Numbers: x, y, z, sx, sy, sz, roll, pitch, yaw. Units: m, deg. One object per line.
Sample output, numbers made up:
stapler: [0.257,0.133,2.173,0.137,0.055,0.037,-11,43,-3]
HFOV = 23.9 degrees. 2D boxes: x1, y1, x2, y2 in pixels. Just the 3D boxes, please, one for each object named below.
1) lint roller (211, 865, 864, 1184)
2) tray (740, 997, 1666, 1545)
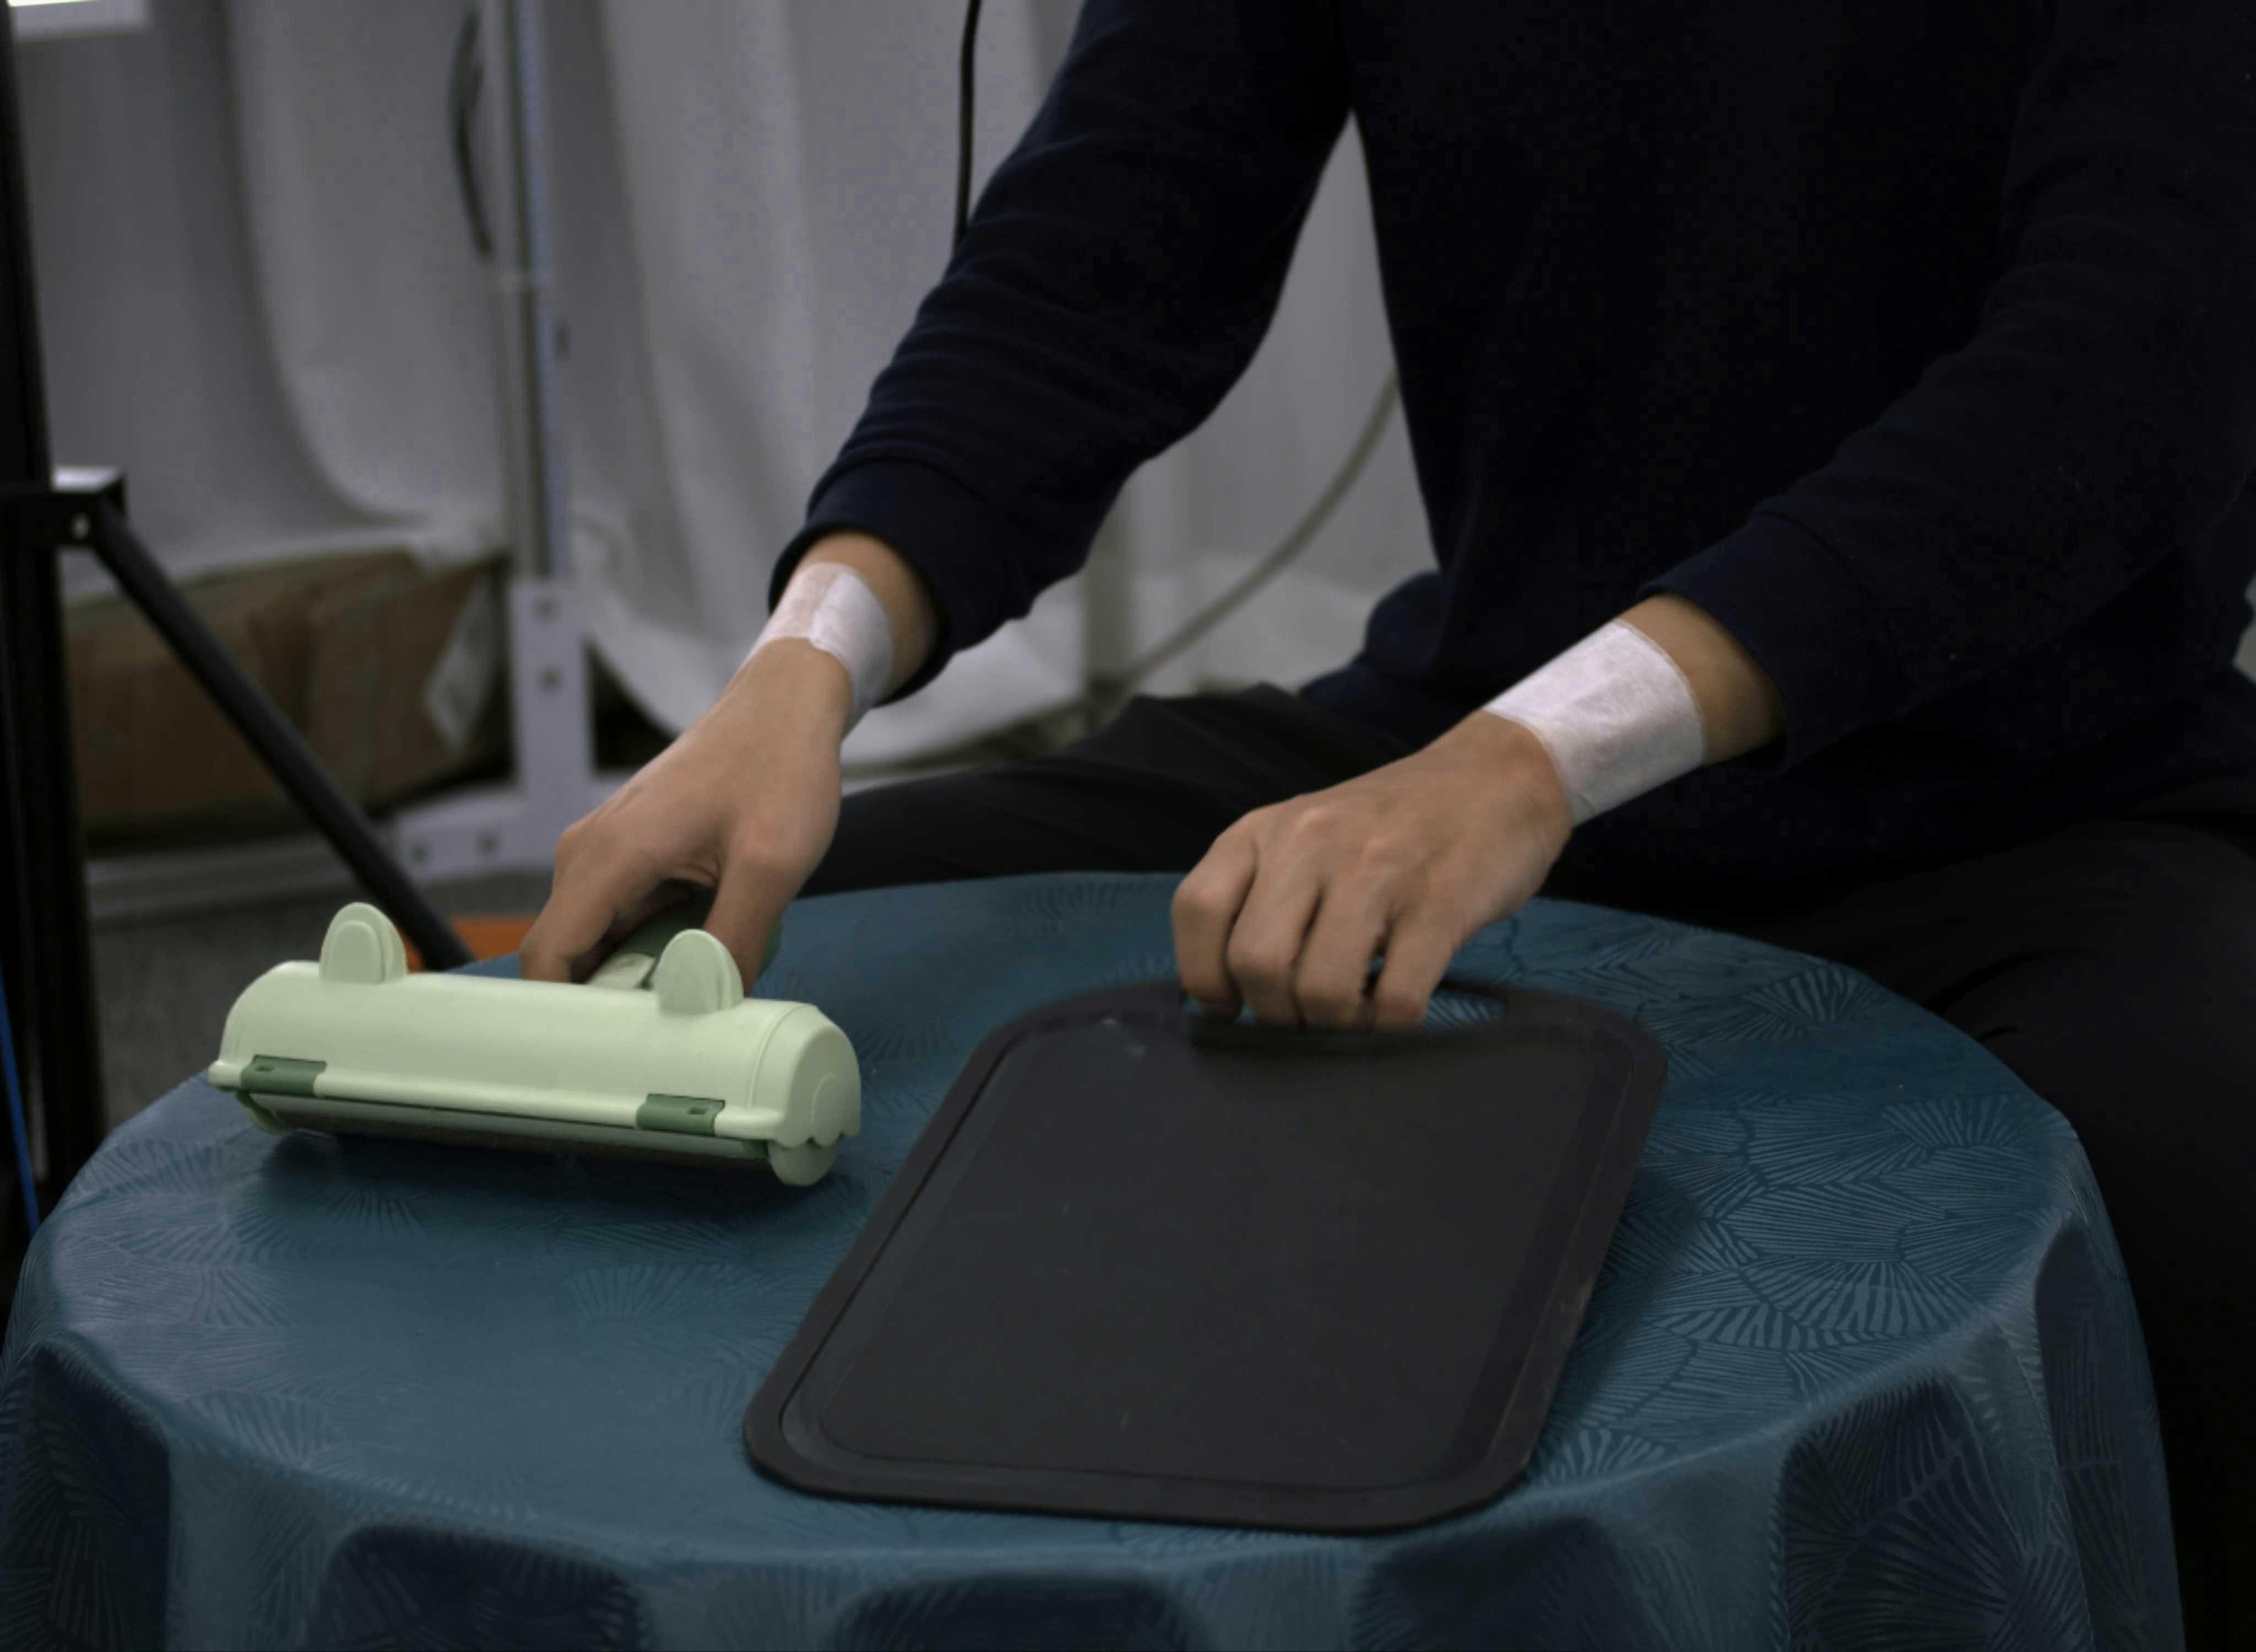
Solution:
lint roller: [-0.158,0.039,1.643,0.201,0.081,0.182,4,32,24]
tray: [0.029,0.112,1.469,0.213,0.010,0.323,2,23,16]
